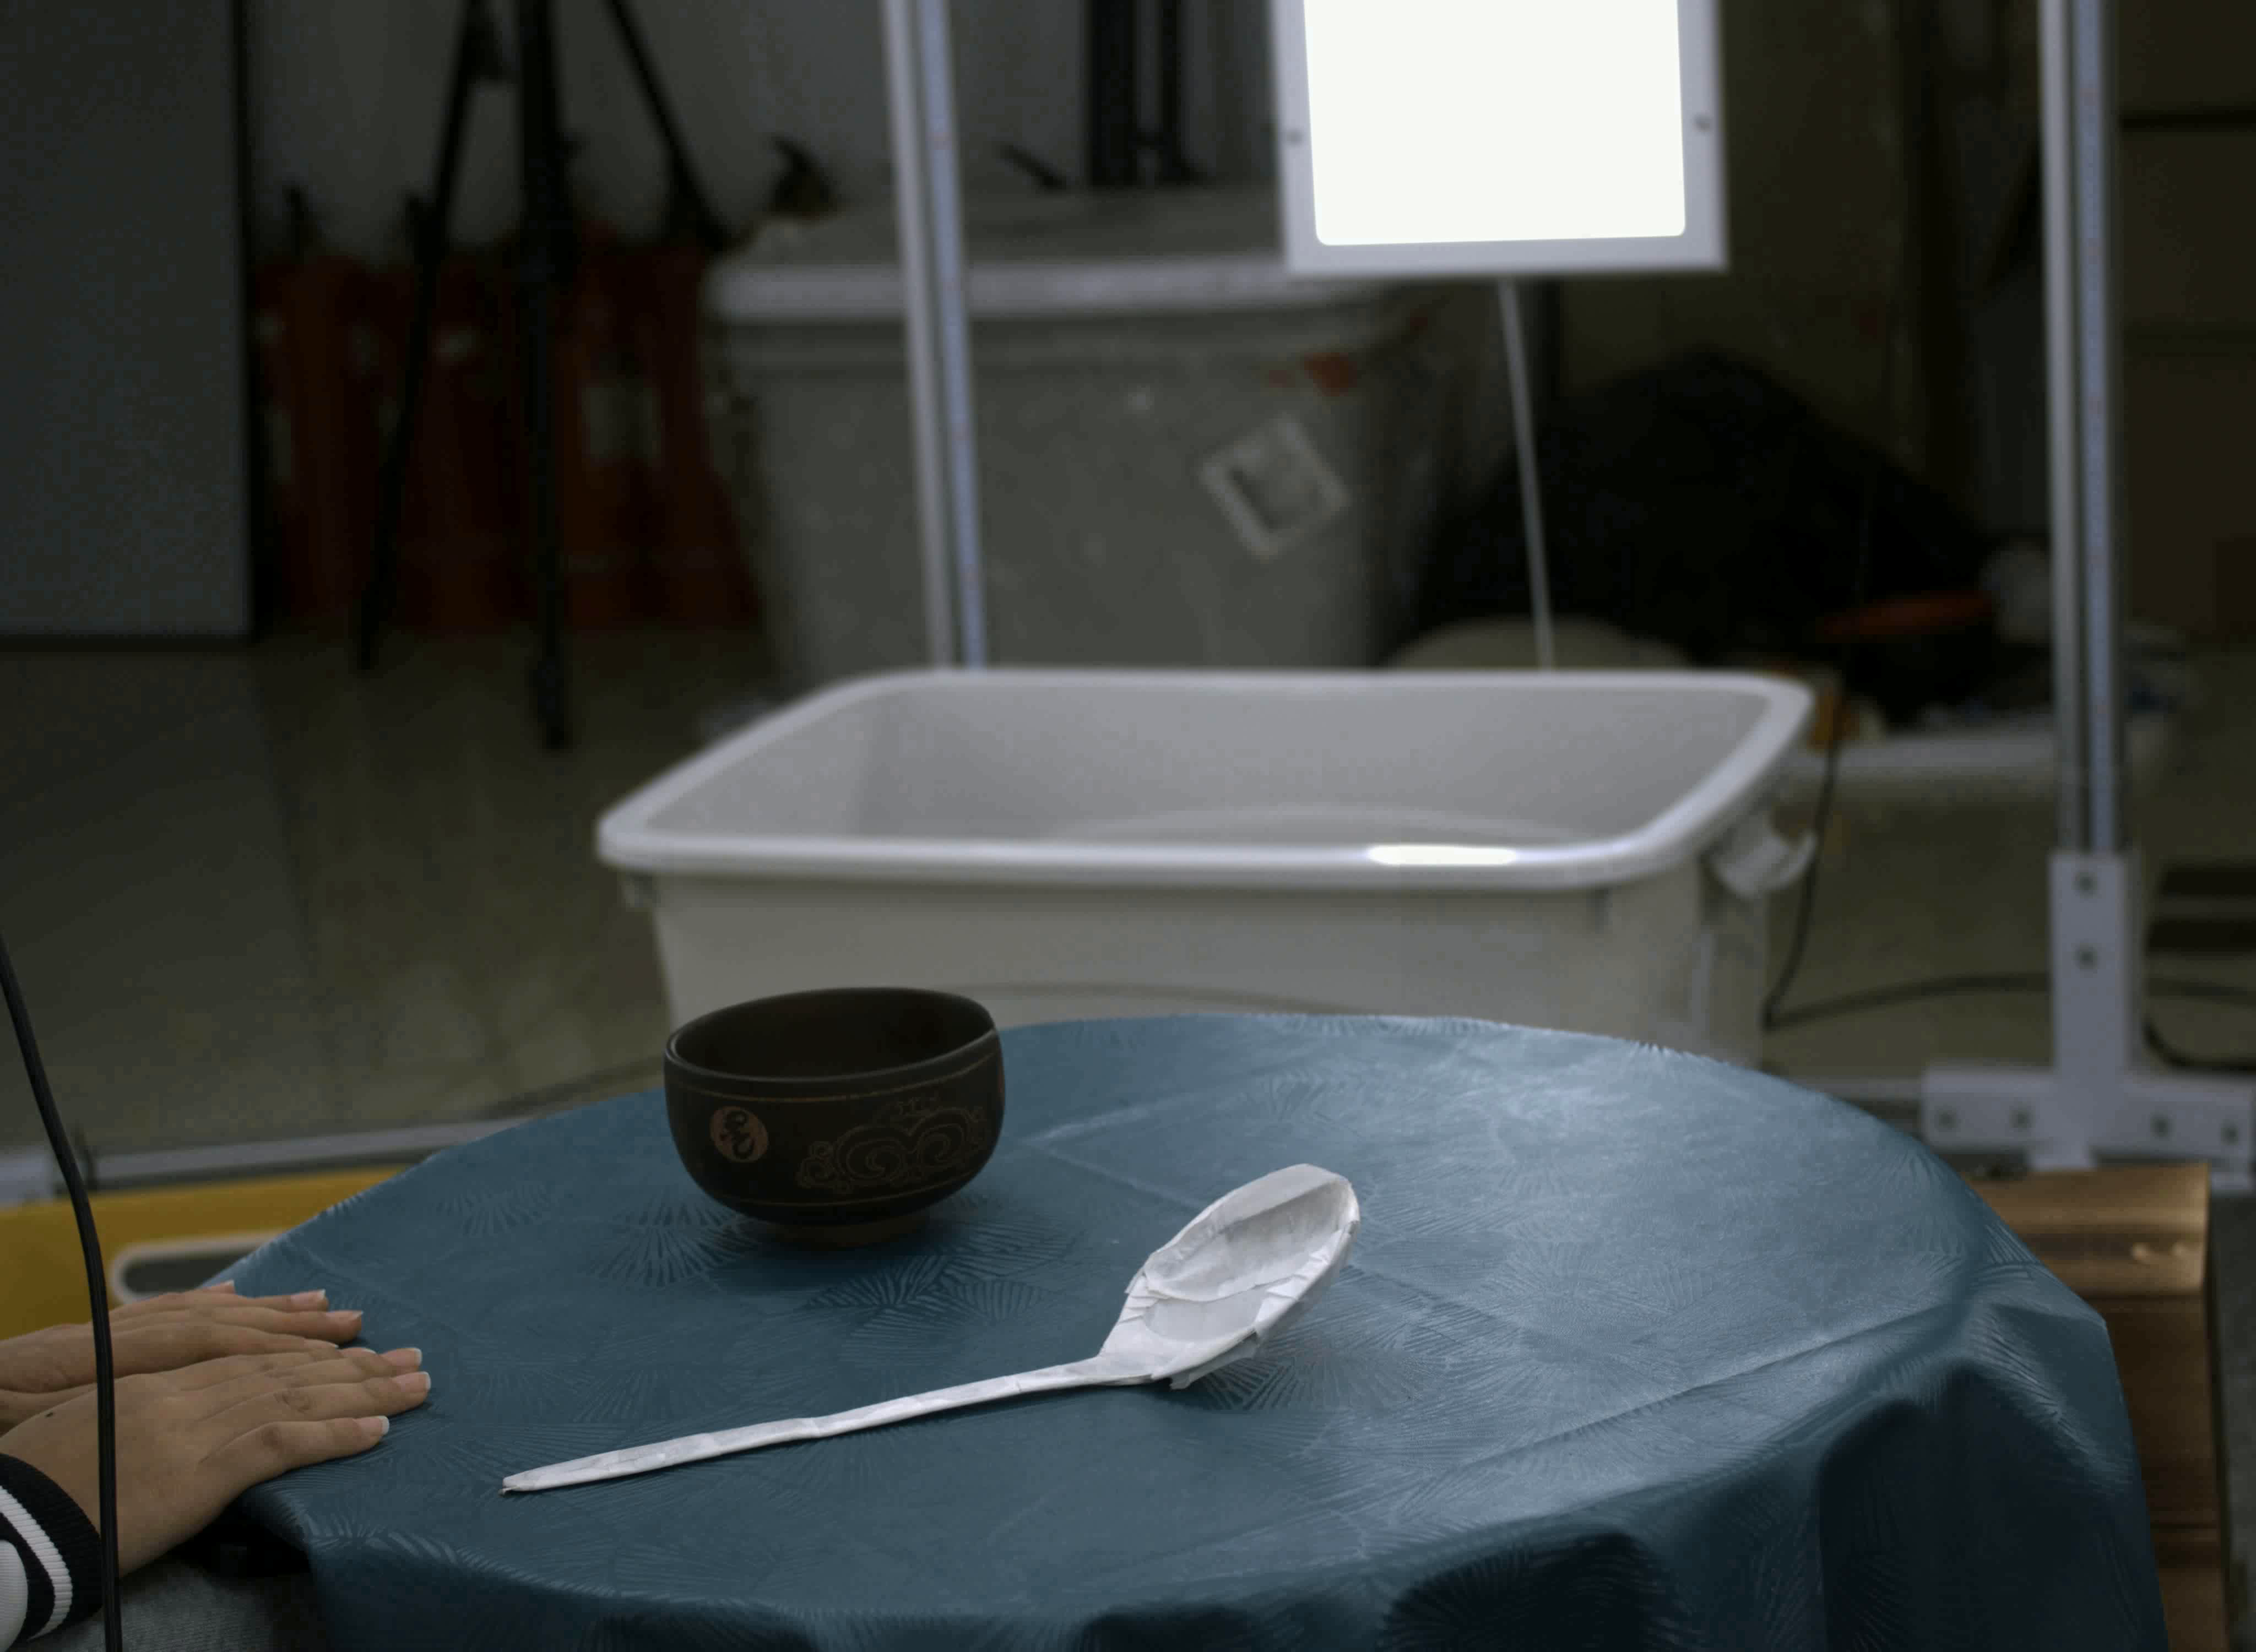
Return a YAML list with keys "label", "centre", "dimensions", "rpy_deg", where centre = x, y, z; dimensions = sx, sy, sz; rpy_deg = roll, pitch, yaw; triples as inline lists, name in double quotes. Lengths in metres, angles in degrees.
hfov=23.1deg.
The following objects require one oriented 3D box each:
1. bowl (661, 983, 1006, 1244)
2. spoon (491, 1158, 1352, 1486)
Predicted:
- label: "bowl"
  centre: [-0.099, 0.102, 1.883]
  dimensions: [0.118, 0.070, 0.118]
  rpy_deg: [-5, 14, 0]
- label: "spoon"
  centre: [-0.063, 0.151, 1.700]
  dimensions: [0.274, 0.059, 0.101]
  rpy_deg: [-8, 11, -12]
